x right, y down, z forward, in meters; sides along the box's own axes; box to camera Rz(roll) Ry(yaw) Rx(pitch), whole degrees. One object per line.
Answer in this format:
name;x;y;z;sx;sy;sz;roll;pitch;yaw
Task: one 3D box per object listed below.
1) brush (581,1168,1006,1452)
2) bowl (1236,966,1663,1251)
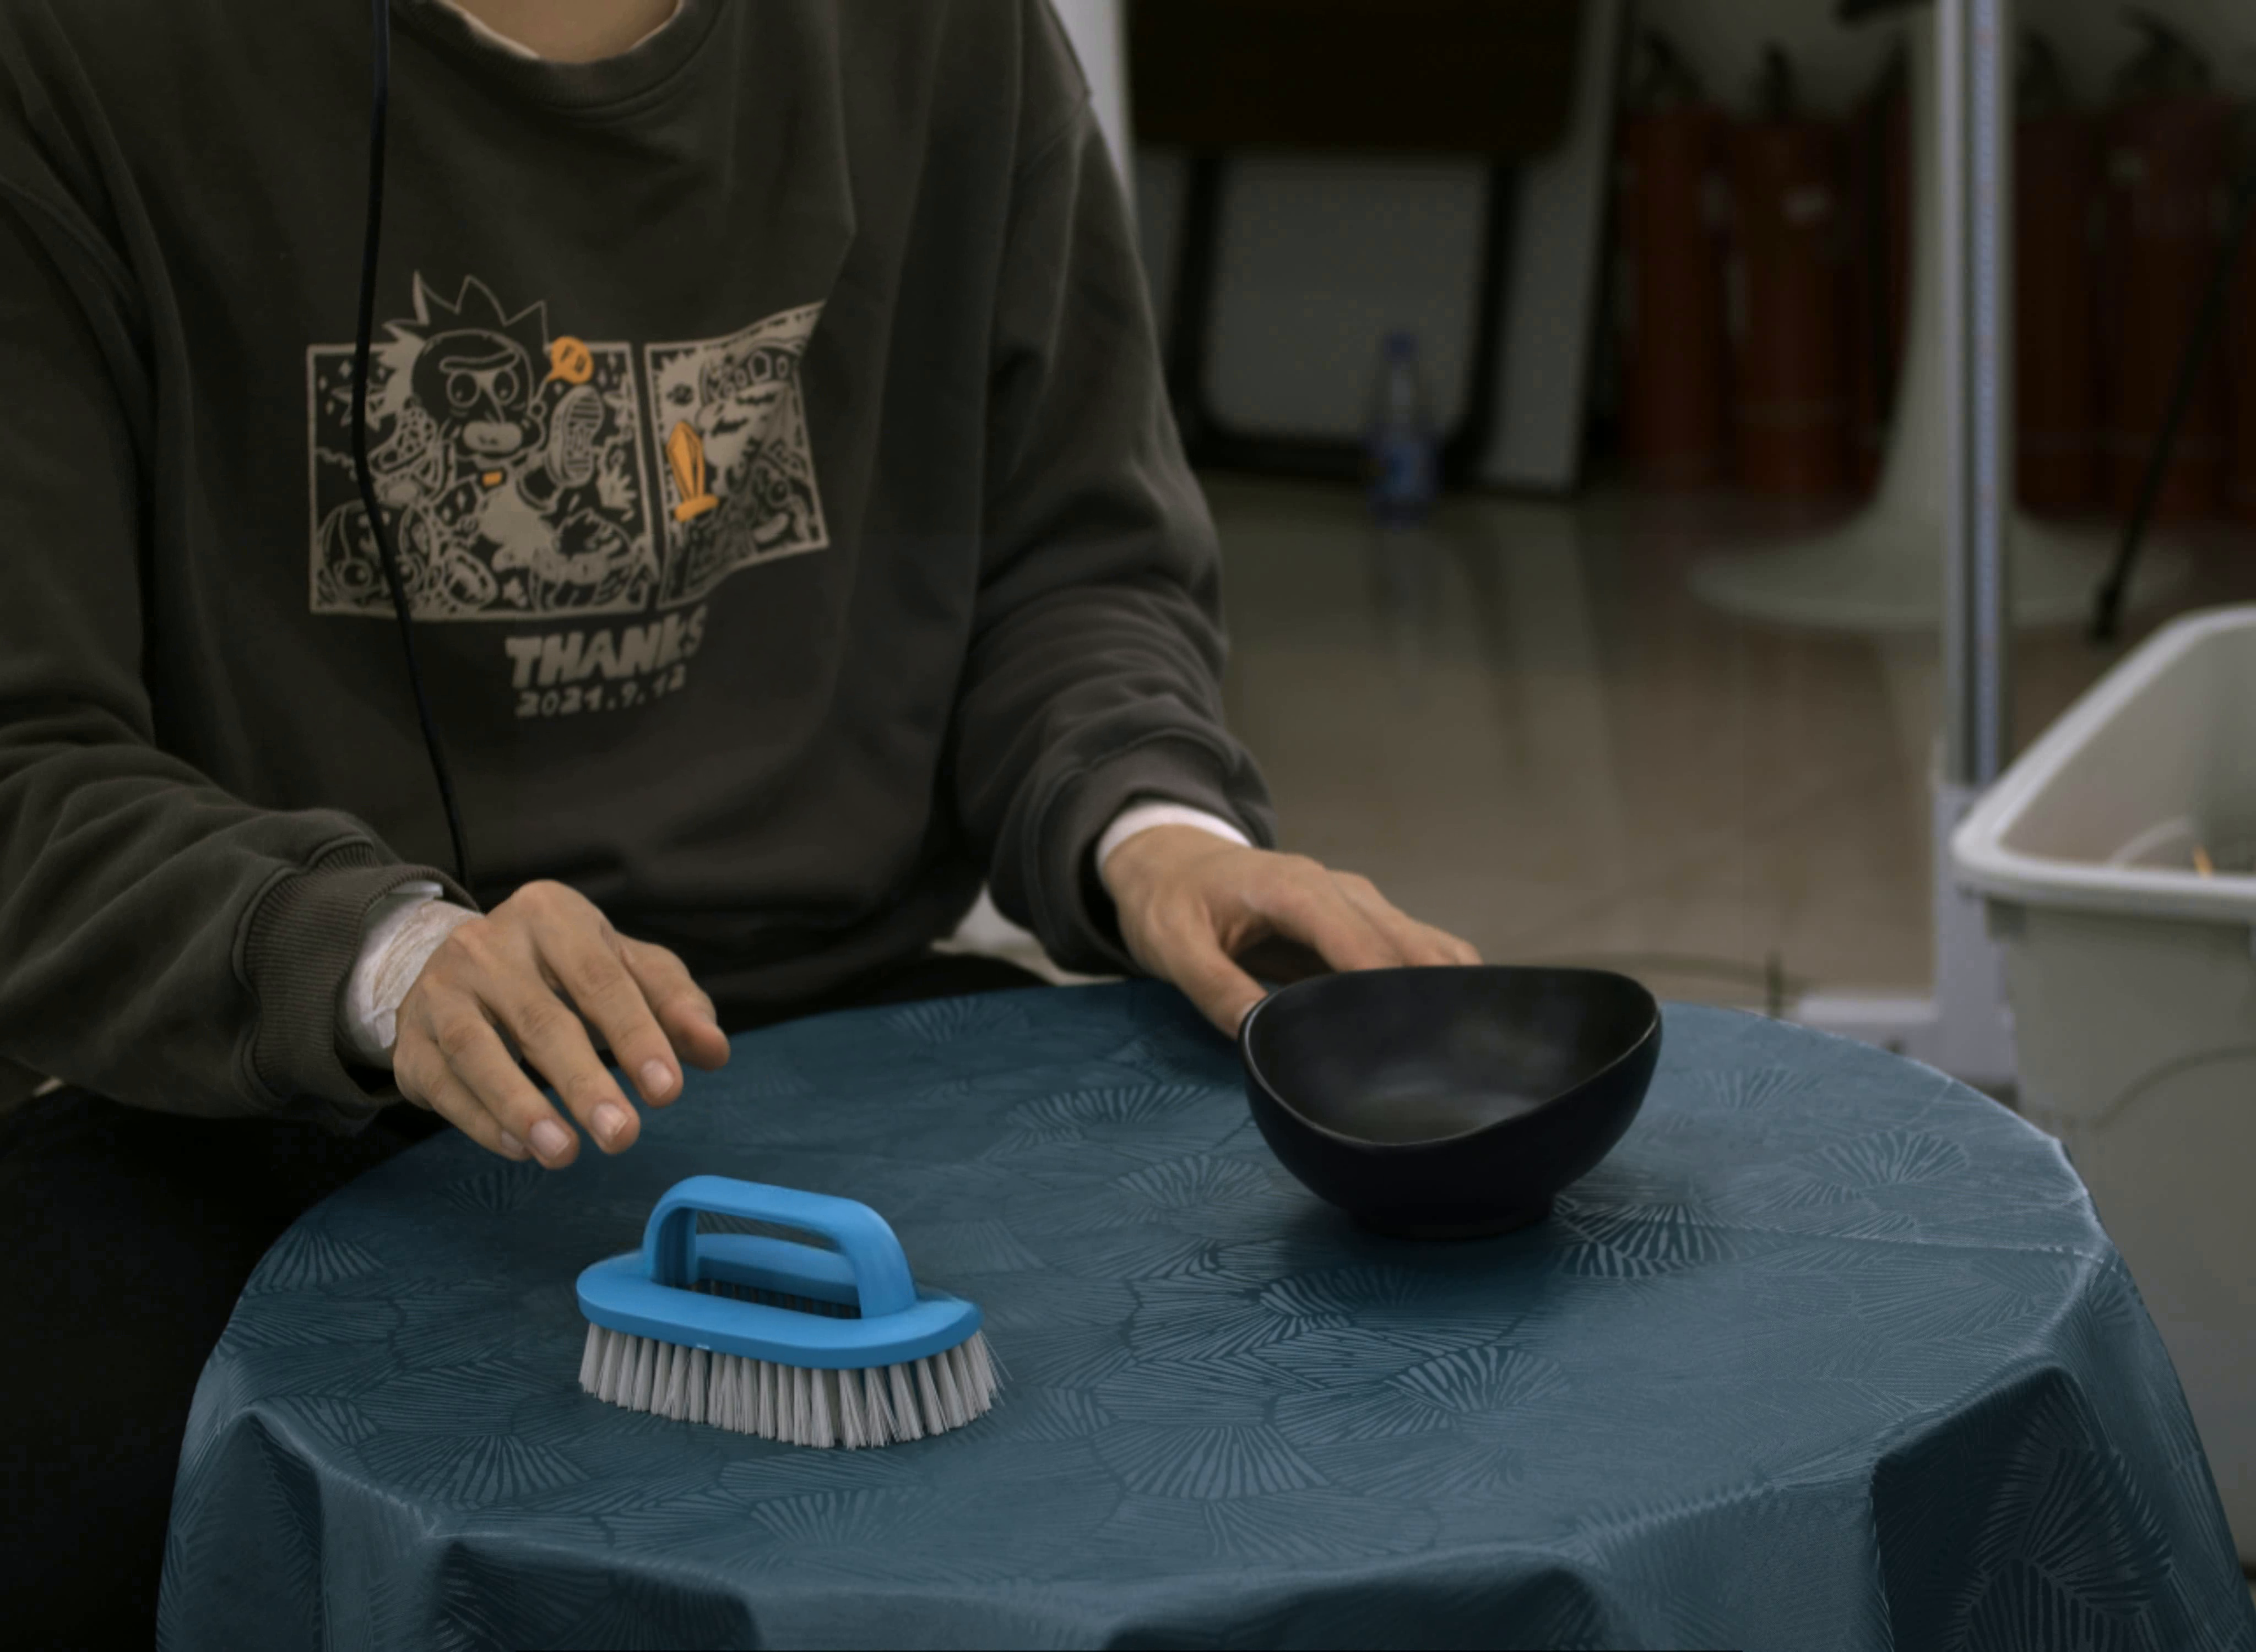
brush;-0.104;0.136;1.605;0.143;0.064;0.083;6;21;39
bowl;0.104;0.094;1.725;0.137;0.067;0.169;-1;15;15
